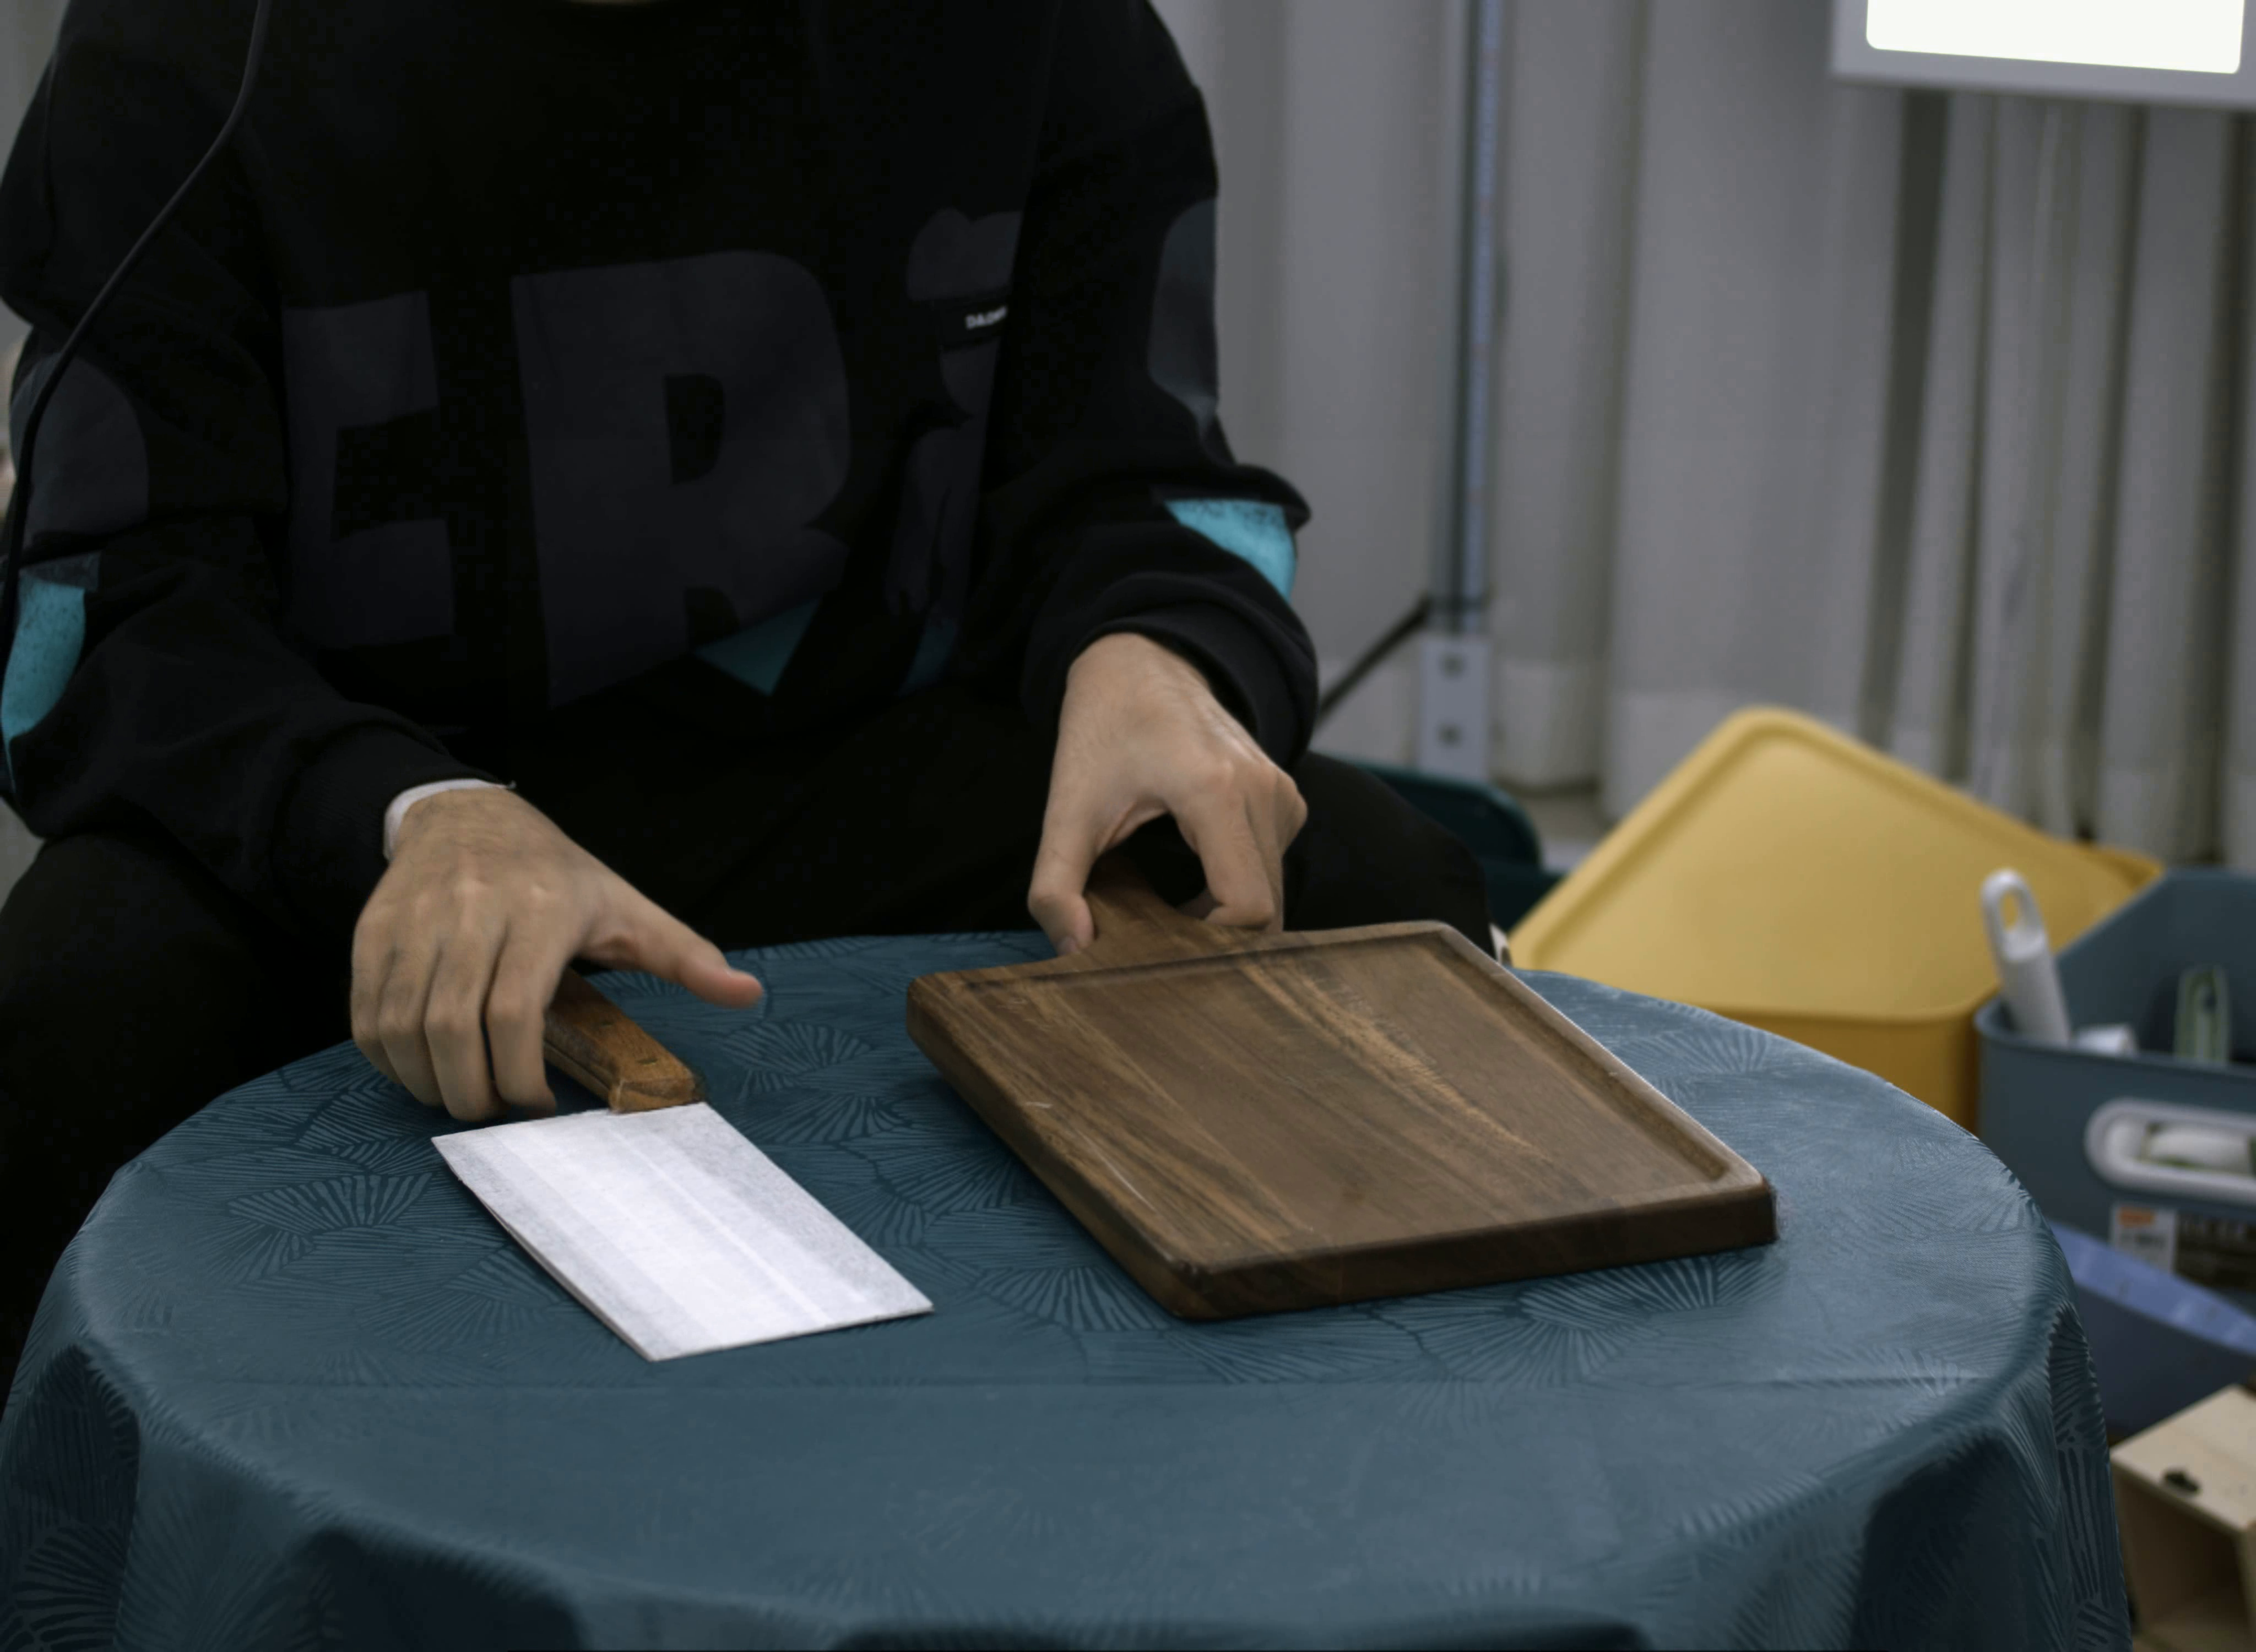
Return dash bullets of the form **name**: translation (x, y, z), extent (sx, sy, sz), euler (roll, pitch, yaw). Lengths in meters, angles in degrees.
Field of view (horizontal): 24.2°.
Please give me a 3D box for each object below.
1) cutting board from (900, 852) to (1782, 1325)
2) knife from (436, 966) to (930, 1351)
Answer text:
- **cutting board**: translation (0.043, 0.072, 1.691), extent (0.201, 0.023, 0.348), euler (-6, 20, -21)
- **knife**: translation (-0.160, 0.102, 1.627), extent (0.093, 0.021, 0.302), euler (-9, 20, -25)
